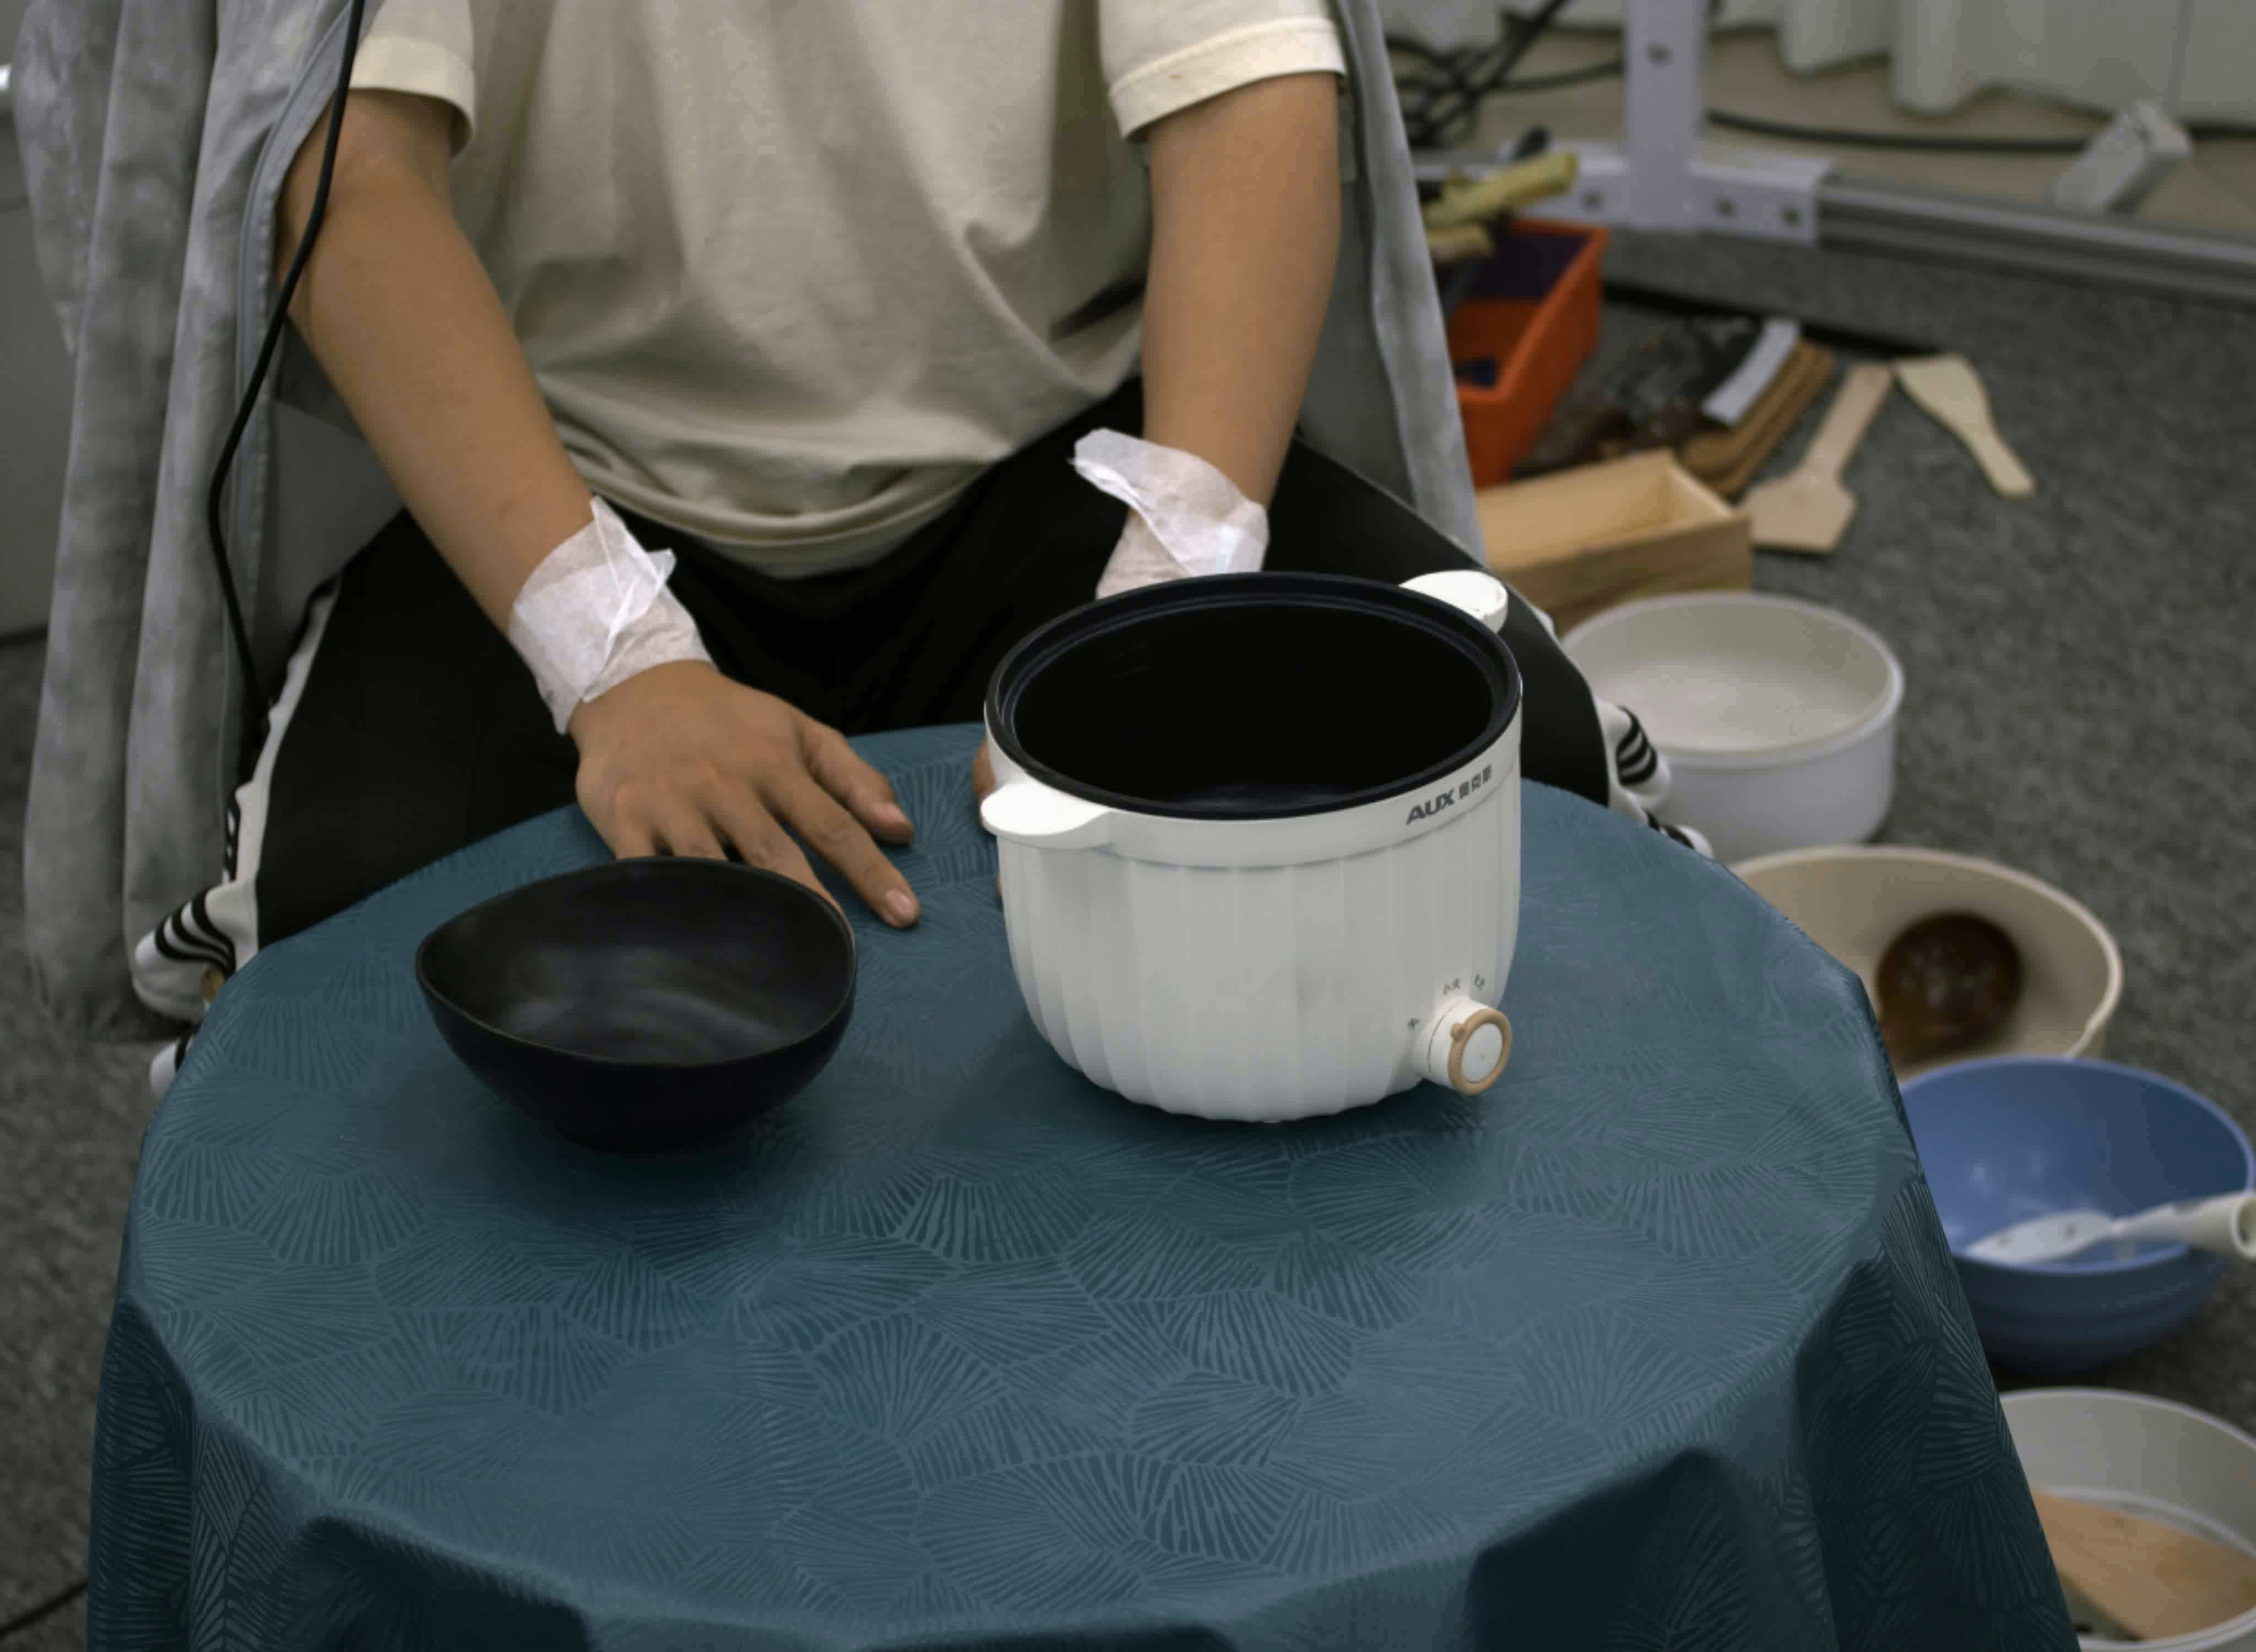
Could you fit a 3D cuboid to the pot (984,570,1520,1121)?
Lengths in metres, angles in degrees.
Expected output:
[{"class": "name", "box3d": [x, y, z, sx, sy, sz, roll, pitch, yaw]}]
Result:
[{"class": "pot", "box3d": [0.050, 0.012, 1.919, 0.190, 0.141, 0.243, 17, 33, 41]}]

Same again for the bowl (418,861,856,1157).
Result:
[{"class": "bowl", "box3d": [-0.167, 0.070, 1.909, 0.170, 0.066, 0.139, 20, 33, 39]}]
